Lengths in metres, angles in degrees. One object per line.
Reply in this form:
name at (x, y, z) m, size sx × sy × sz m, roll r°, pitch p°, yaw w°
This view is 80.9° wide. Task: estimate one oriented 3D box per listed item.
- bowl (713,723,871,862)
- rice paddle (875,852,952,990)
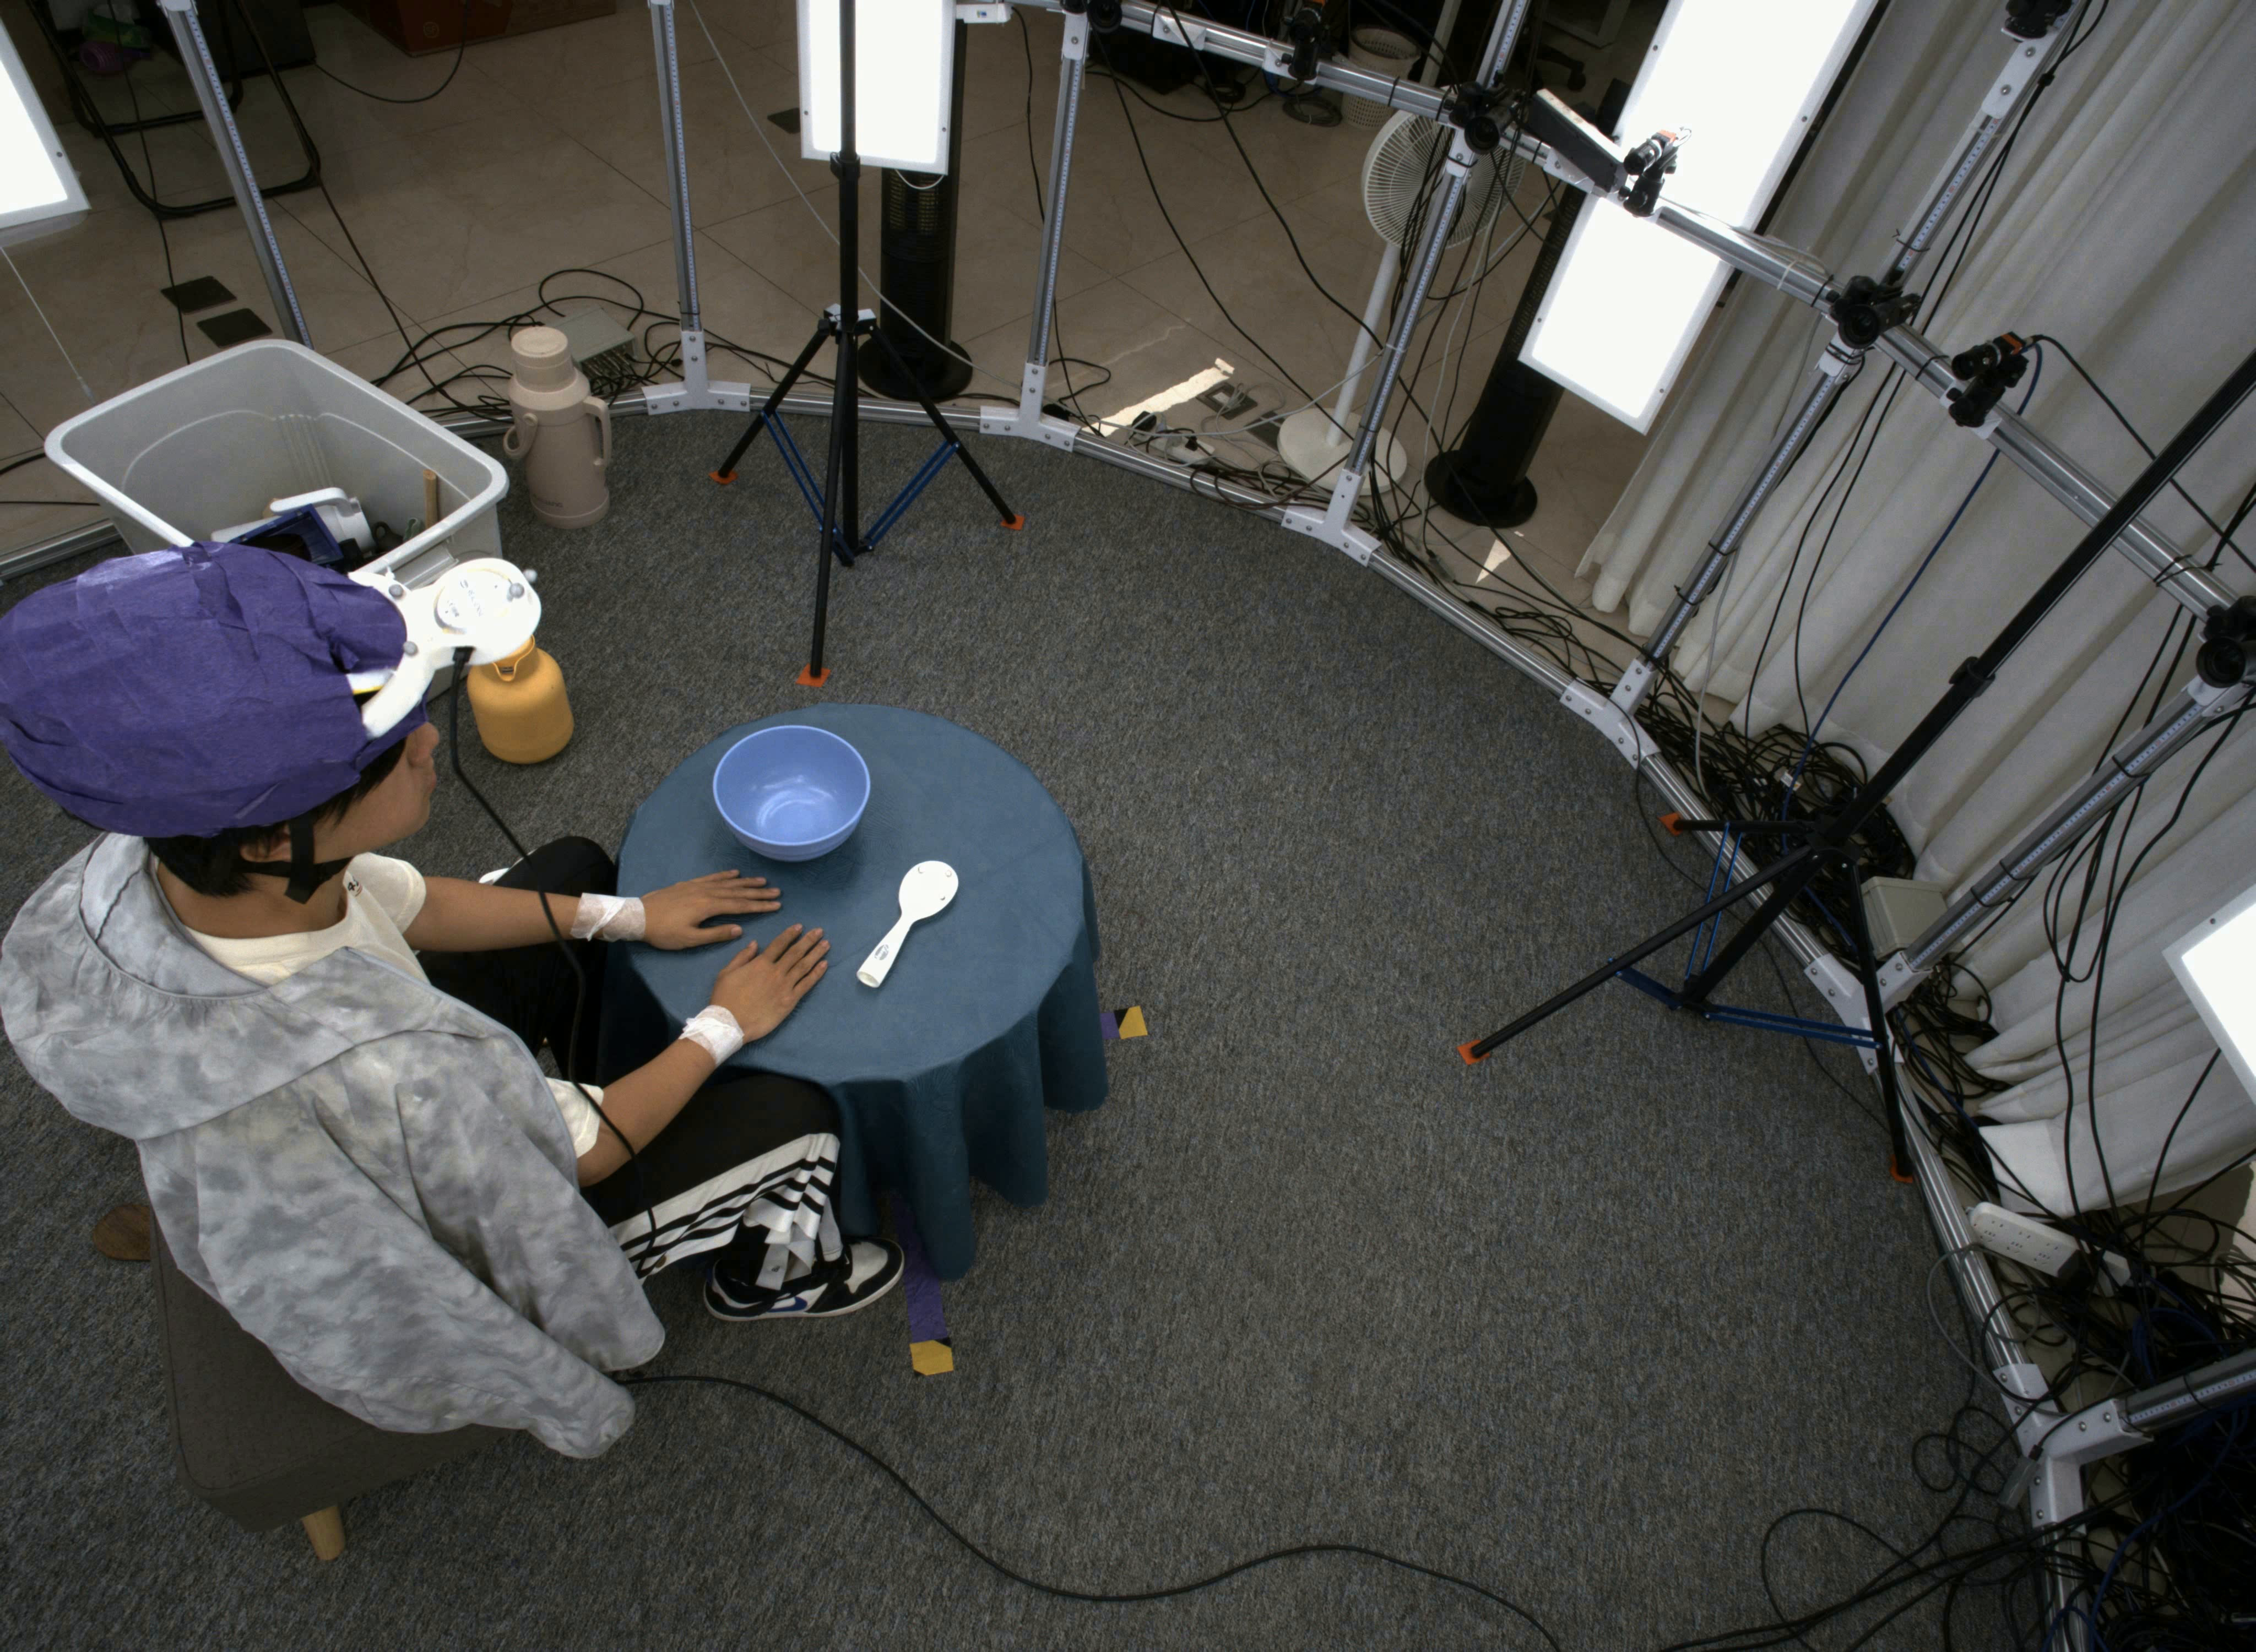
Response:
bowl at (-0.434, -0.028, 1.682) m, size 0.196 × 0.097 × 0.193 m, roll 9°, pitch 52°, yaw -9°
rice paddle at (-0.278, 0.112, 1.666) m, size 0.067 × 0.030 × 0.203 m, roll 9°, pitch 55°, yaw 10°
